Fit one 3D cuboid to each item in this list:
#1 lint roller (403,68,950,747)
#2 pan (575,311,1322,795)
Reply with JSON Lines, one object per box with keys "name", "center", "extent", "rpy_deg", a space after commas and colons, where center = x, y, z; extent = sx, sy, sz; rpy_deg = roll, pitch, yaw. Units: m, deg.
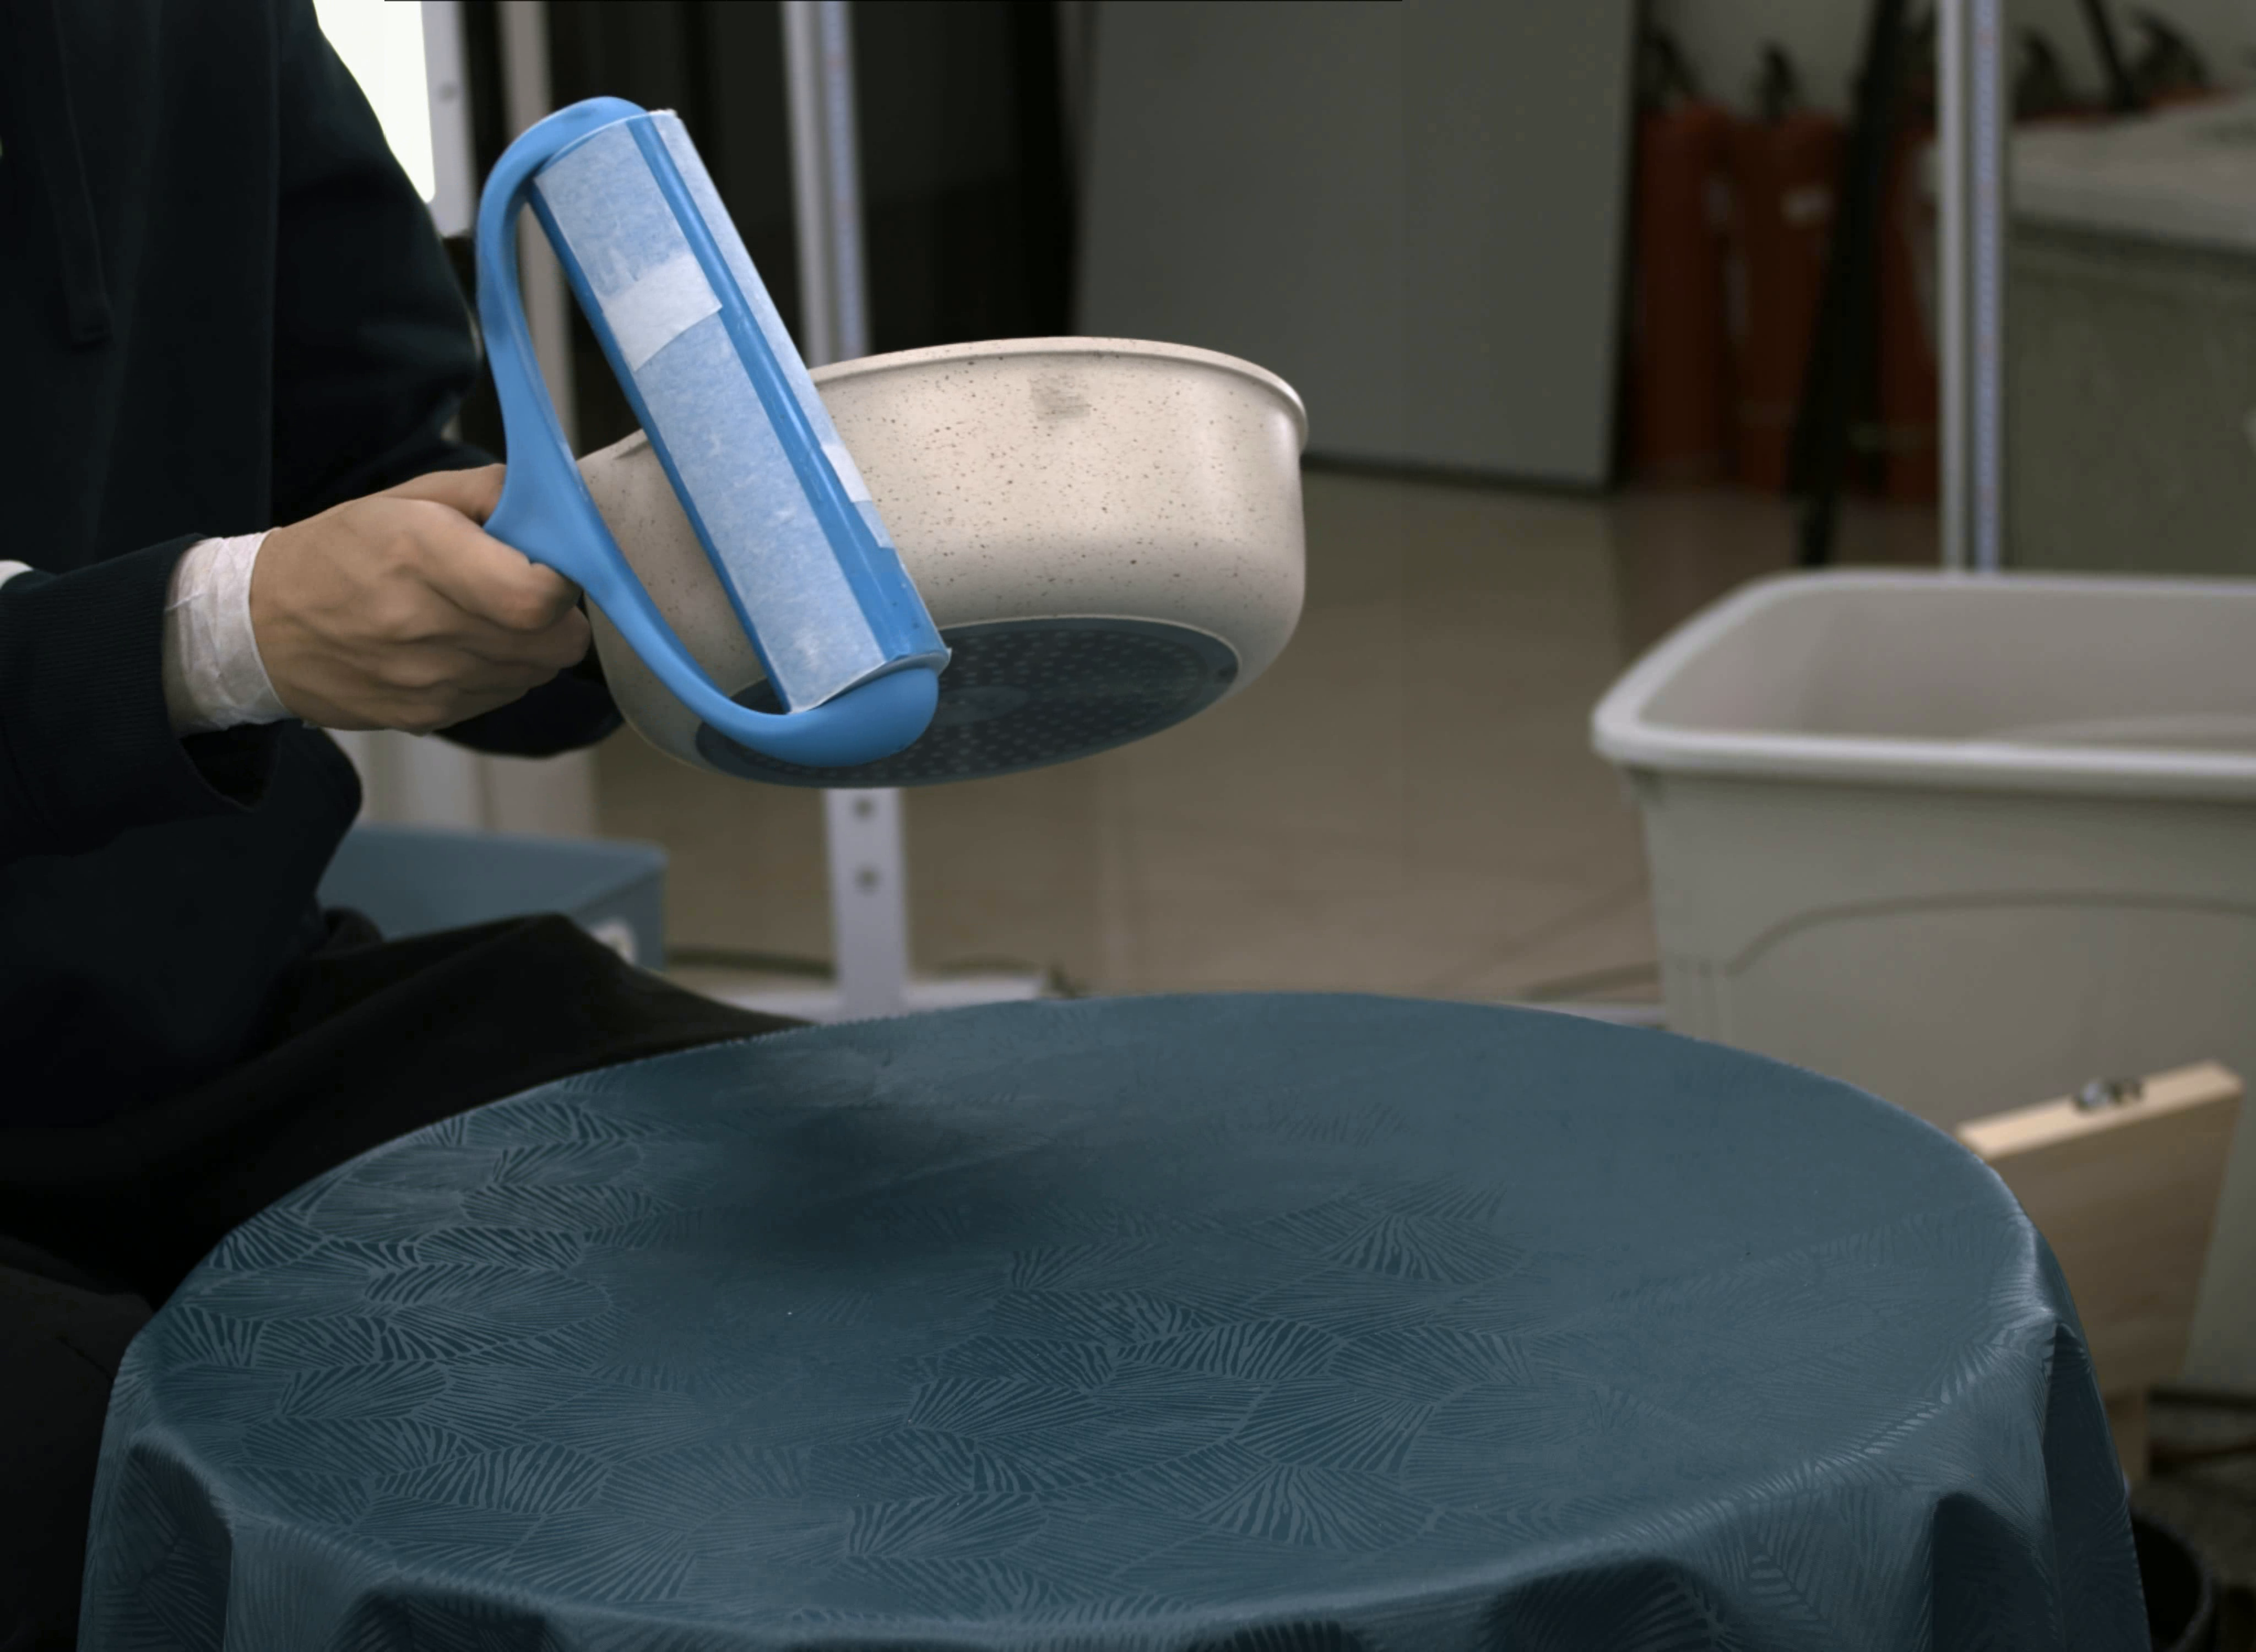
{"name": "lint roller", "center": [-0.165, -0.096, 1.664], "extent": [0.181, 0.231, 0.067], "rpy_deg": [-35, -14, 21]}
{"name": "pan", "center": [-0.088, -0.059, 1.857], "extent": [0.257, 0.103, 0.438], "rpy_deg": [-3, -17, -23]}
